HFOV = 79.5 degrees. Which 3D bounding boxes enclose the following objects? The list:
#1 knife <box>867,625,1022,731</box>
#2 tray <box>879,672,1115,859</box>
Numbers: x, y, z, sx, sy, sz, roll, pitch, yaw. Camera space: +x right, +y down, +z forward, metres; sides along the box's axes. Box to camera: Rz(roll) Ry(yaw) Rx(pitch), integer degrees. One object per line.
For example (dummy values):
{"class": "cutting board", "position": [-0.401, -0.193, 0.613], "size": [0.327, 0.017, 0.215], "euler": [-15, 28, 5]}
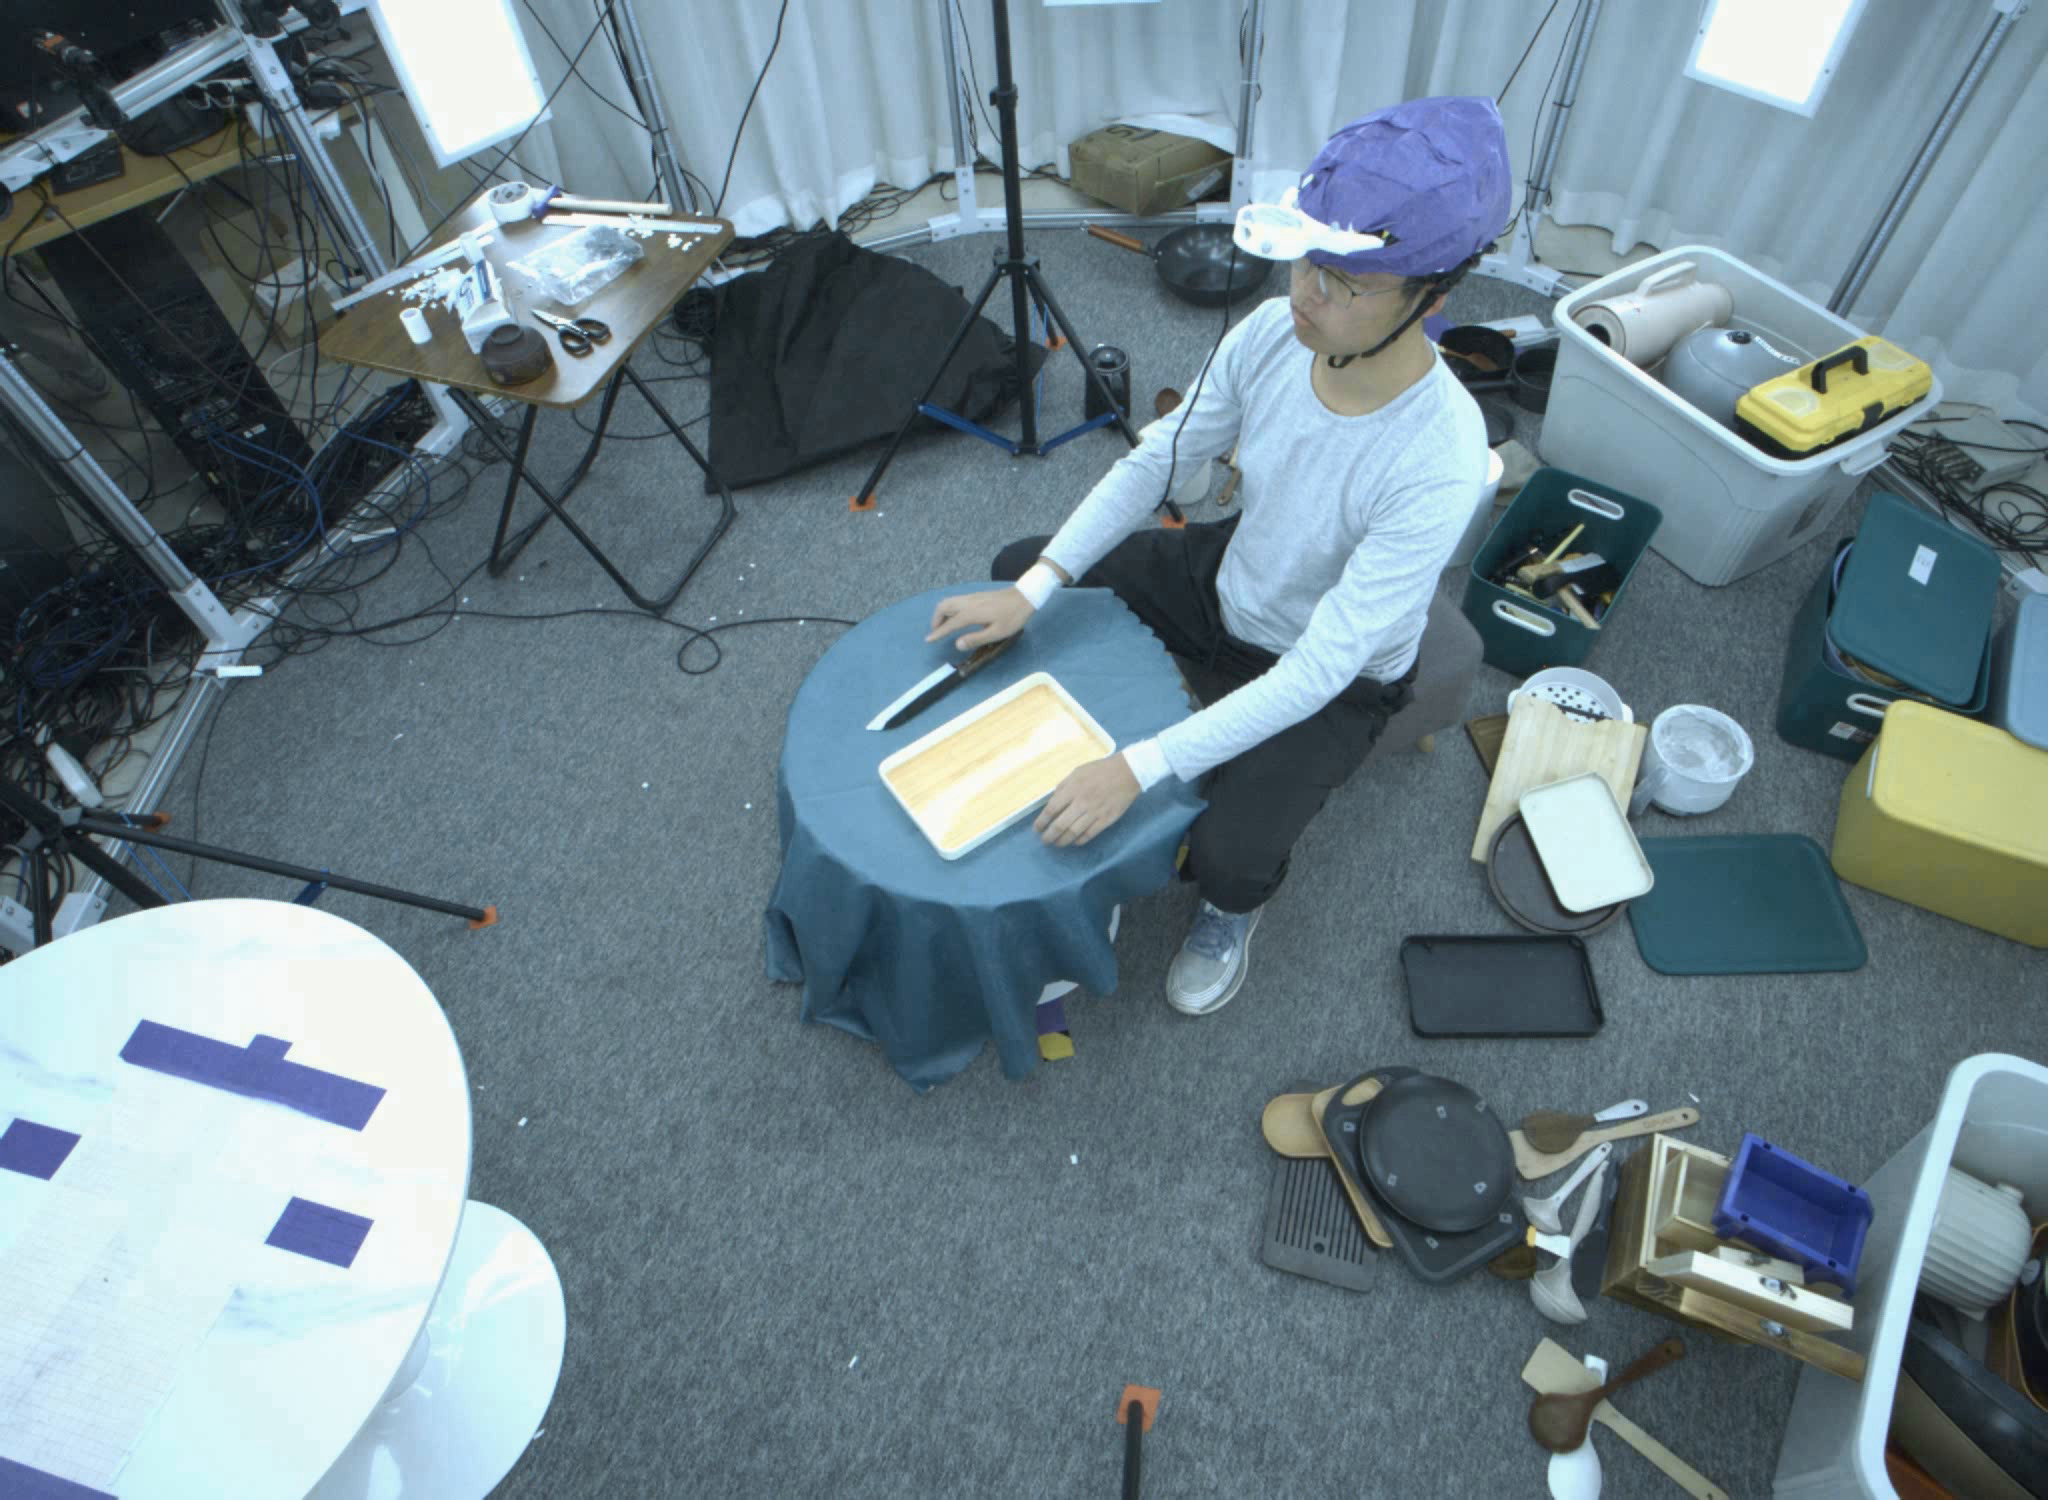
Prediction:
{"class": "knife", "position": [-0.119, -0.109, 1.867], "size": [0.291, 0.020, 0.049], "euler": [-35, 55, -19]}
{"class": "tray", "position": [-0.038, 0.017, 1.768], "size": [0.303, 0.028, 0.188], "euler": [-31, 59, -19]}
